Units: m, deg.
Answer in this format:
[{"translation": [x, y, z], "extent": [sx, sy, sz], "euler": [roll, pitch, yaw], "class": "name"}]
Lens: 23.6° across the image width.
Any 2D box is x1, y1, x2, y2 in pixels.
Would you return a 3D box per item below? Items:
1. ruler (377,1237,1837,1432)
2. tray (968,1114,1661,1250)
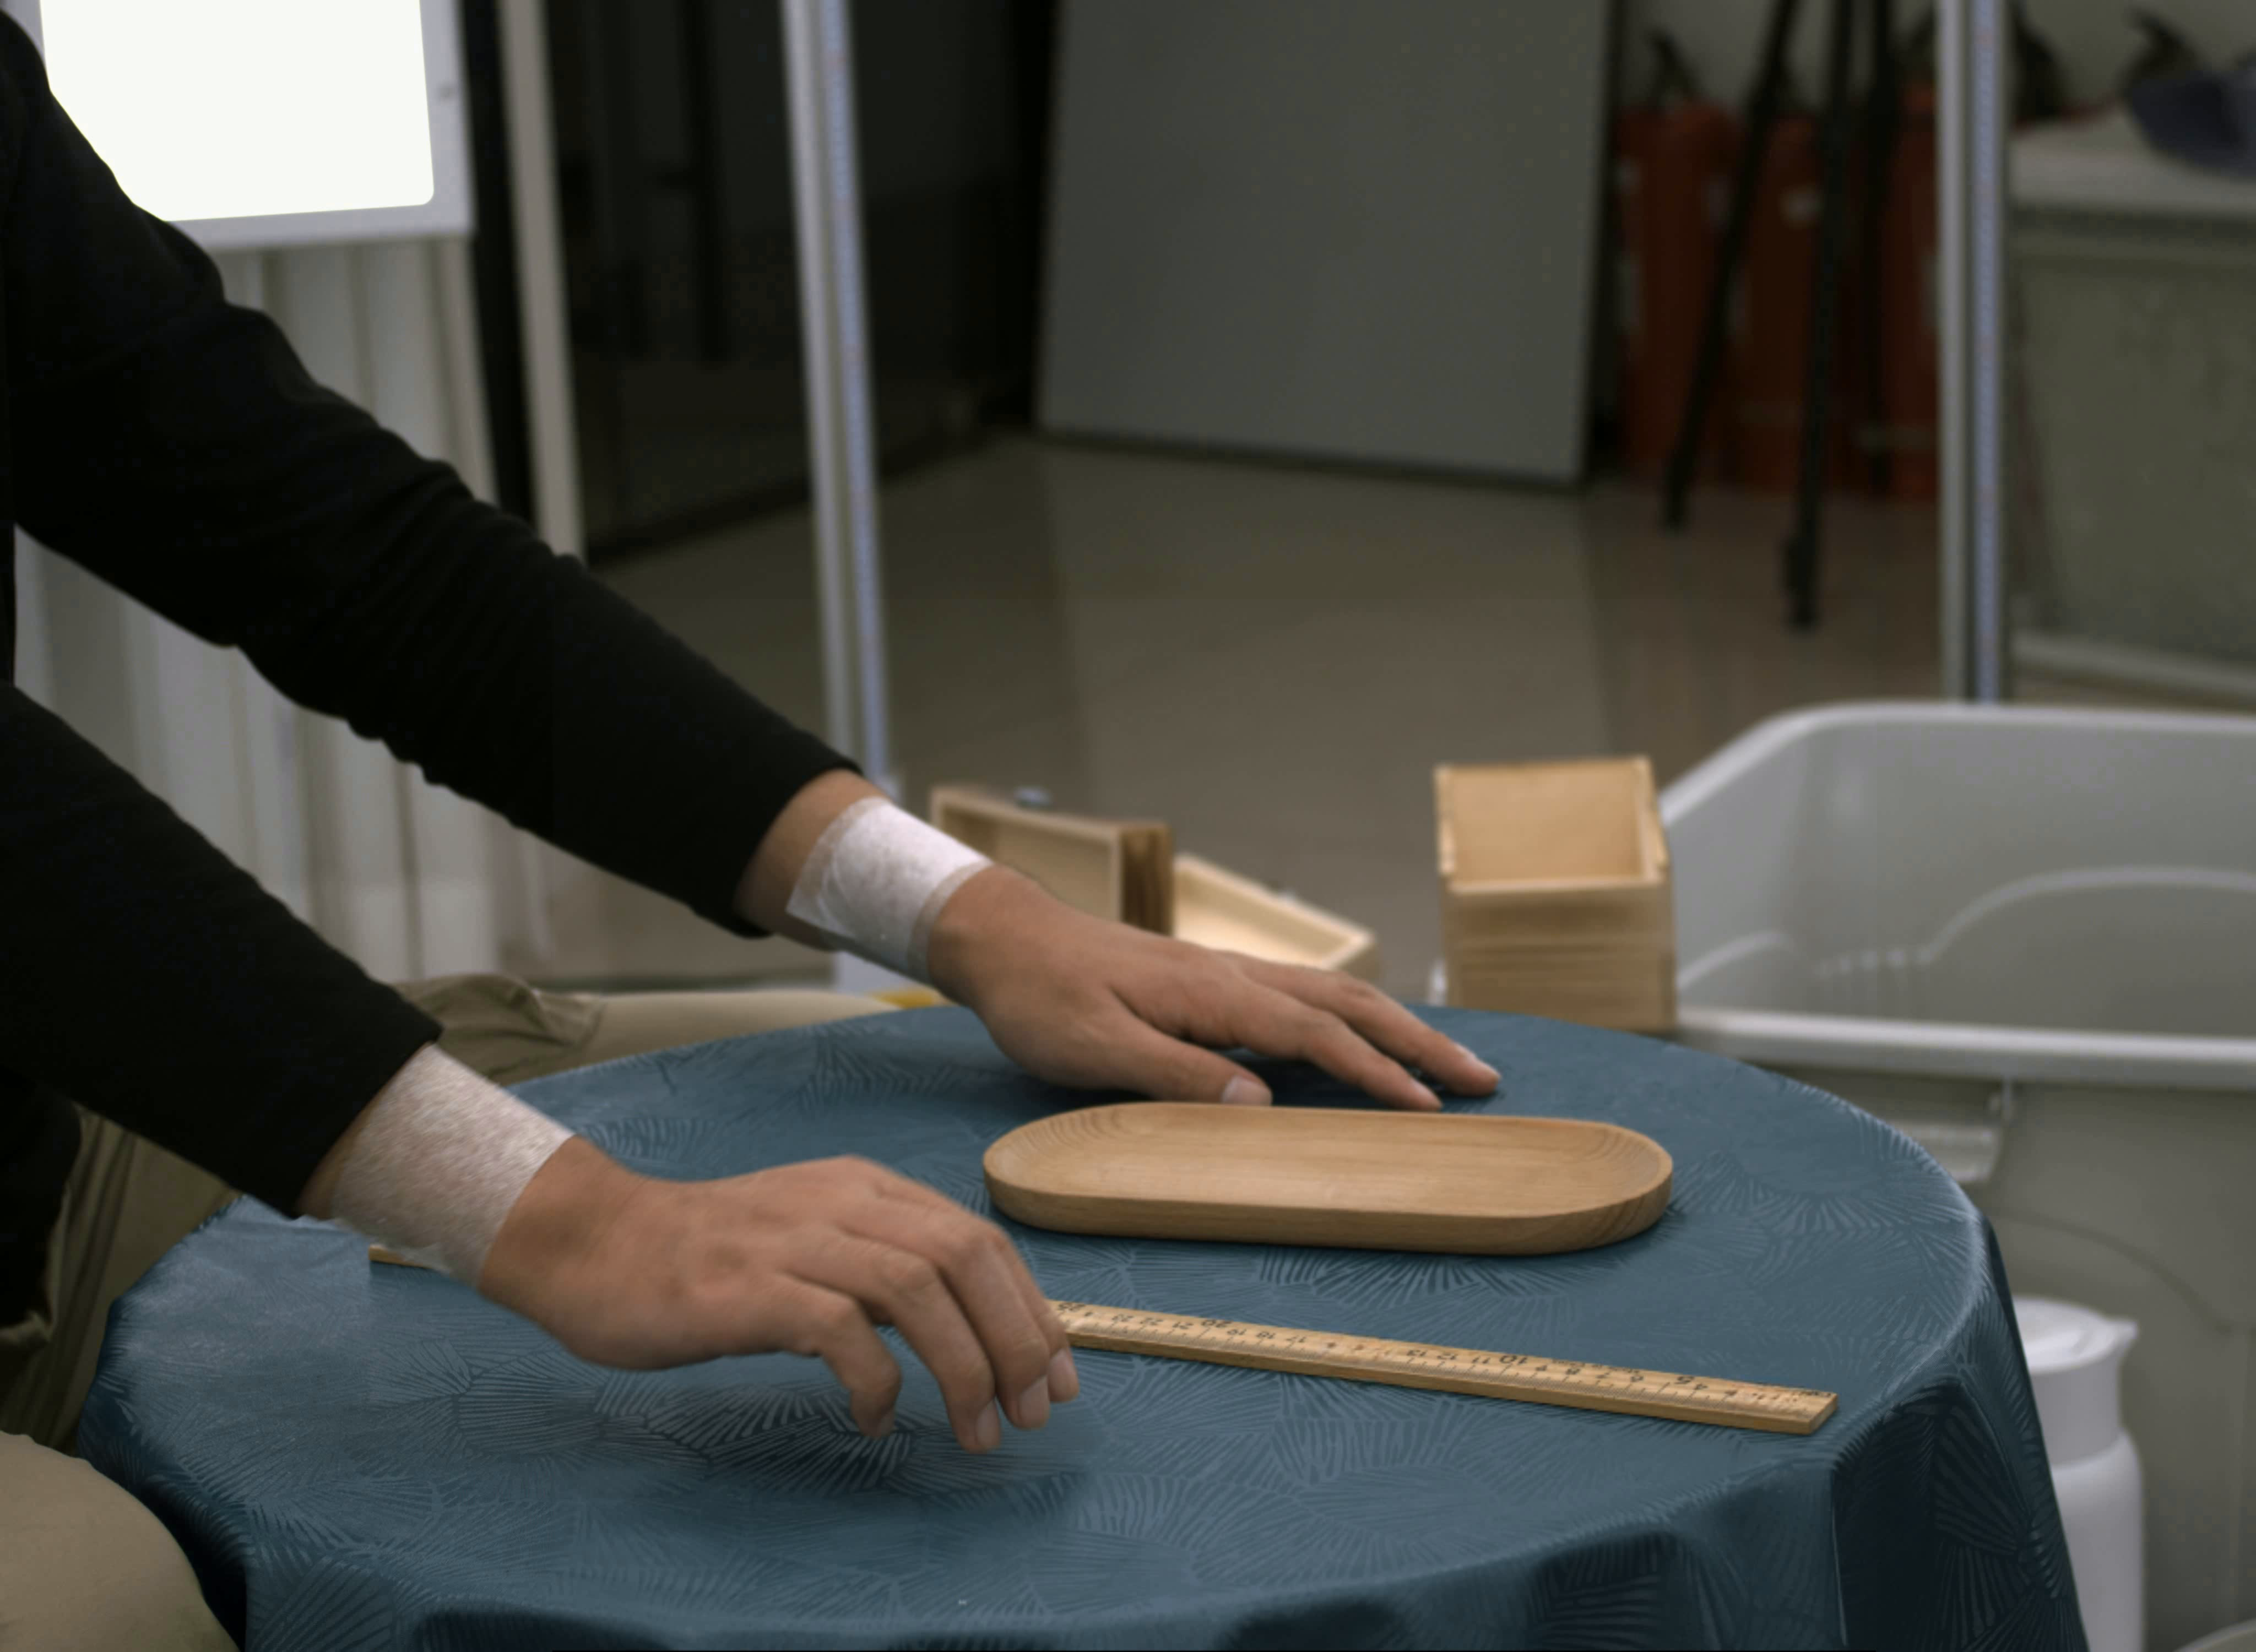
[{"translation": [-0.020, 0.152, 1.641], "extent": [0.502, 0.006, 0.026], "euler": [4, 14, 30], "class": "ruler"}, {"translation": [0.060, 0.115, 1.742], "extent": [0.230, 0.020, 0.101], "euler": [-1, 12, 19], "class": "tray"}]
